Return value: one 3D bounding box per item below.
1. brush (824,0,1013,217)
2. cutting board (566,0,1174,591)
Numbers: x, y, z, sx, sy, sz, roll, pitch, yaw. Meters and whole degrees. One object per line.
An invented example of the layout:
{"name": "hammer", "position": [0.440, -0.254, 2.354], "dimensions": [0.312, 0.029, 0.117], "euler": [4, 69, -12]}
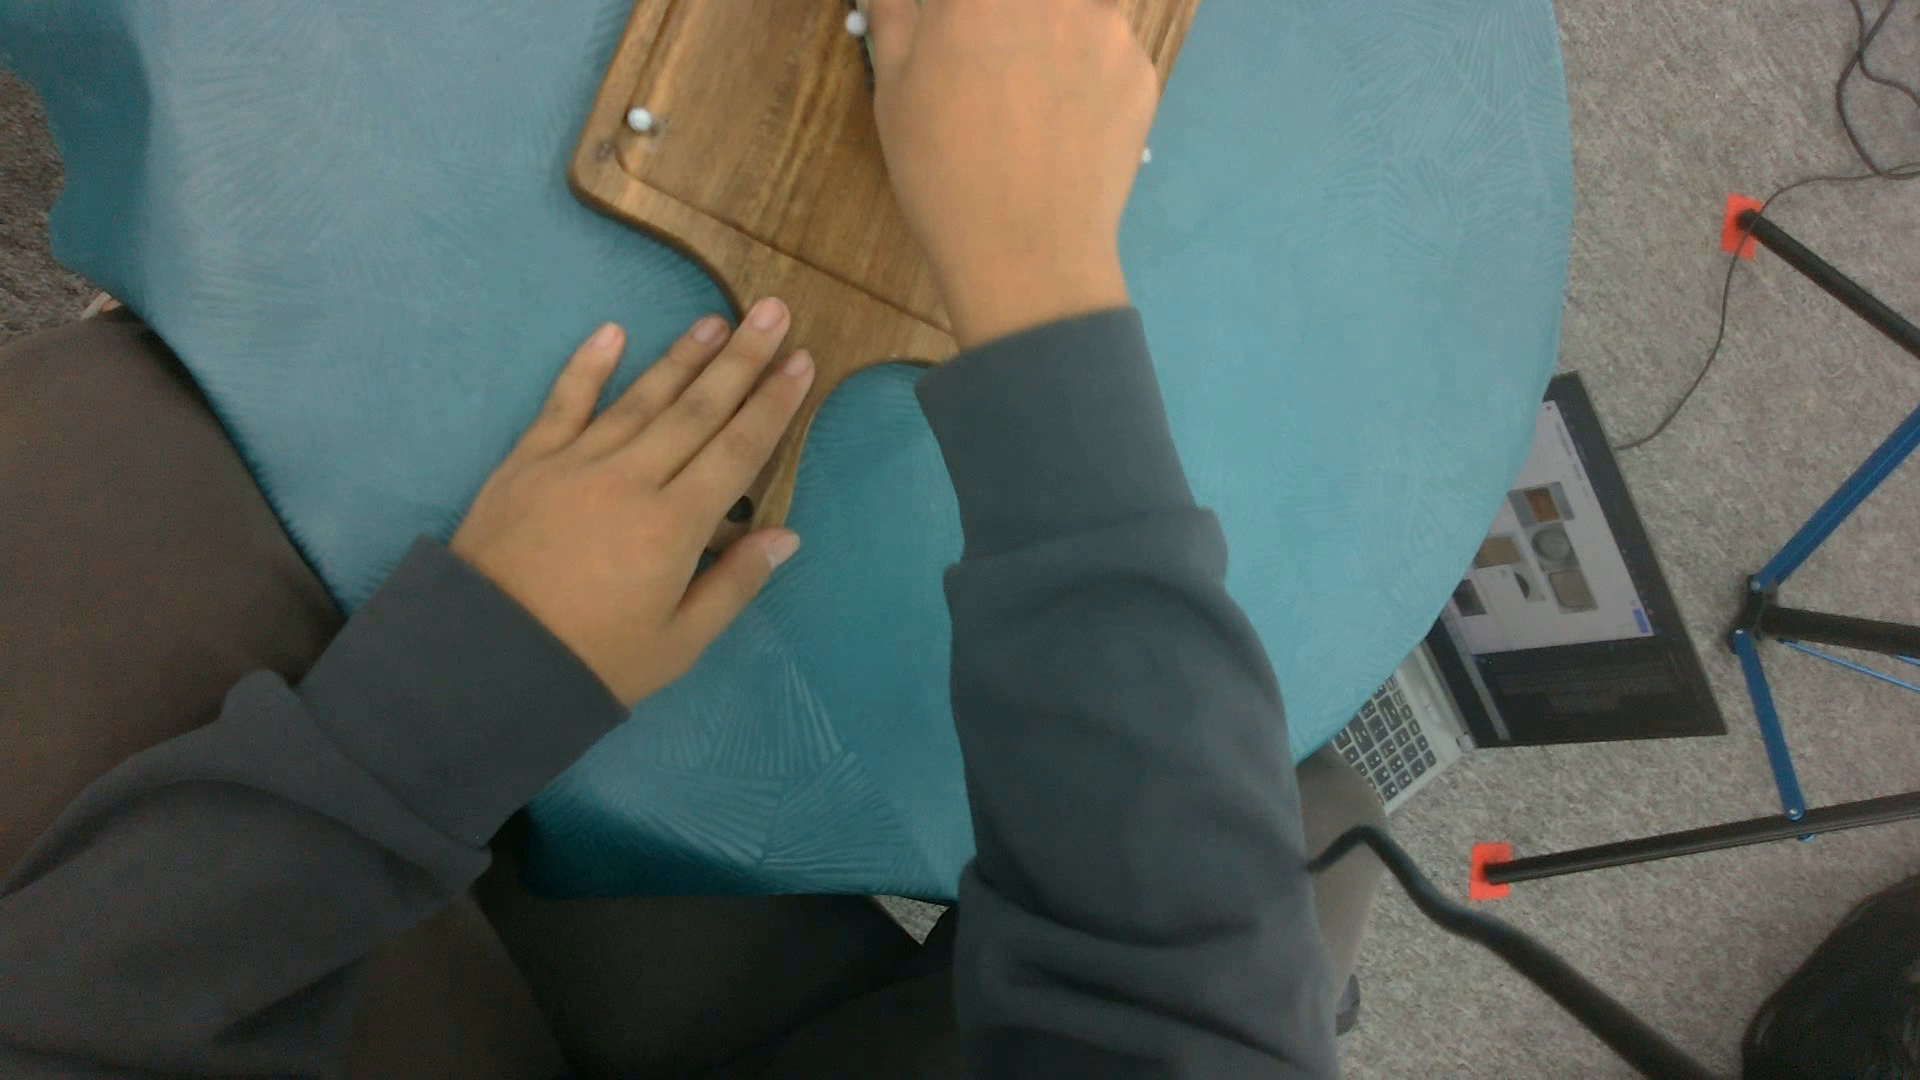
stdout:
{"name": "brush", "position": [-0.015, -0.184, 0.516], "dimensions": [0.060, 0.076, 0.122], "euler": [-16, 115, -18]}
{"name": "cutting board", "position": [-0.036, -0.149, 0.541], "dimensions": [0.201, 0.023, 0.352], "euler": [21, 85, -21]}
